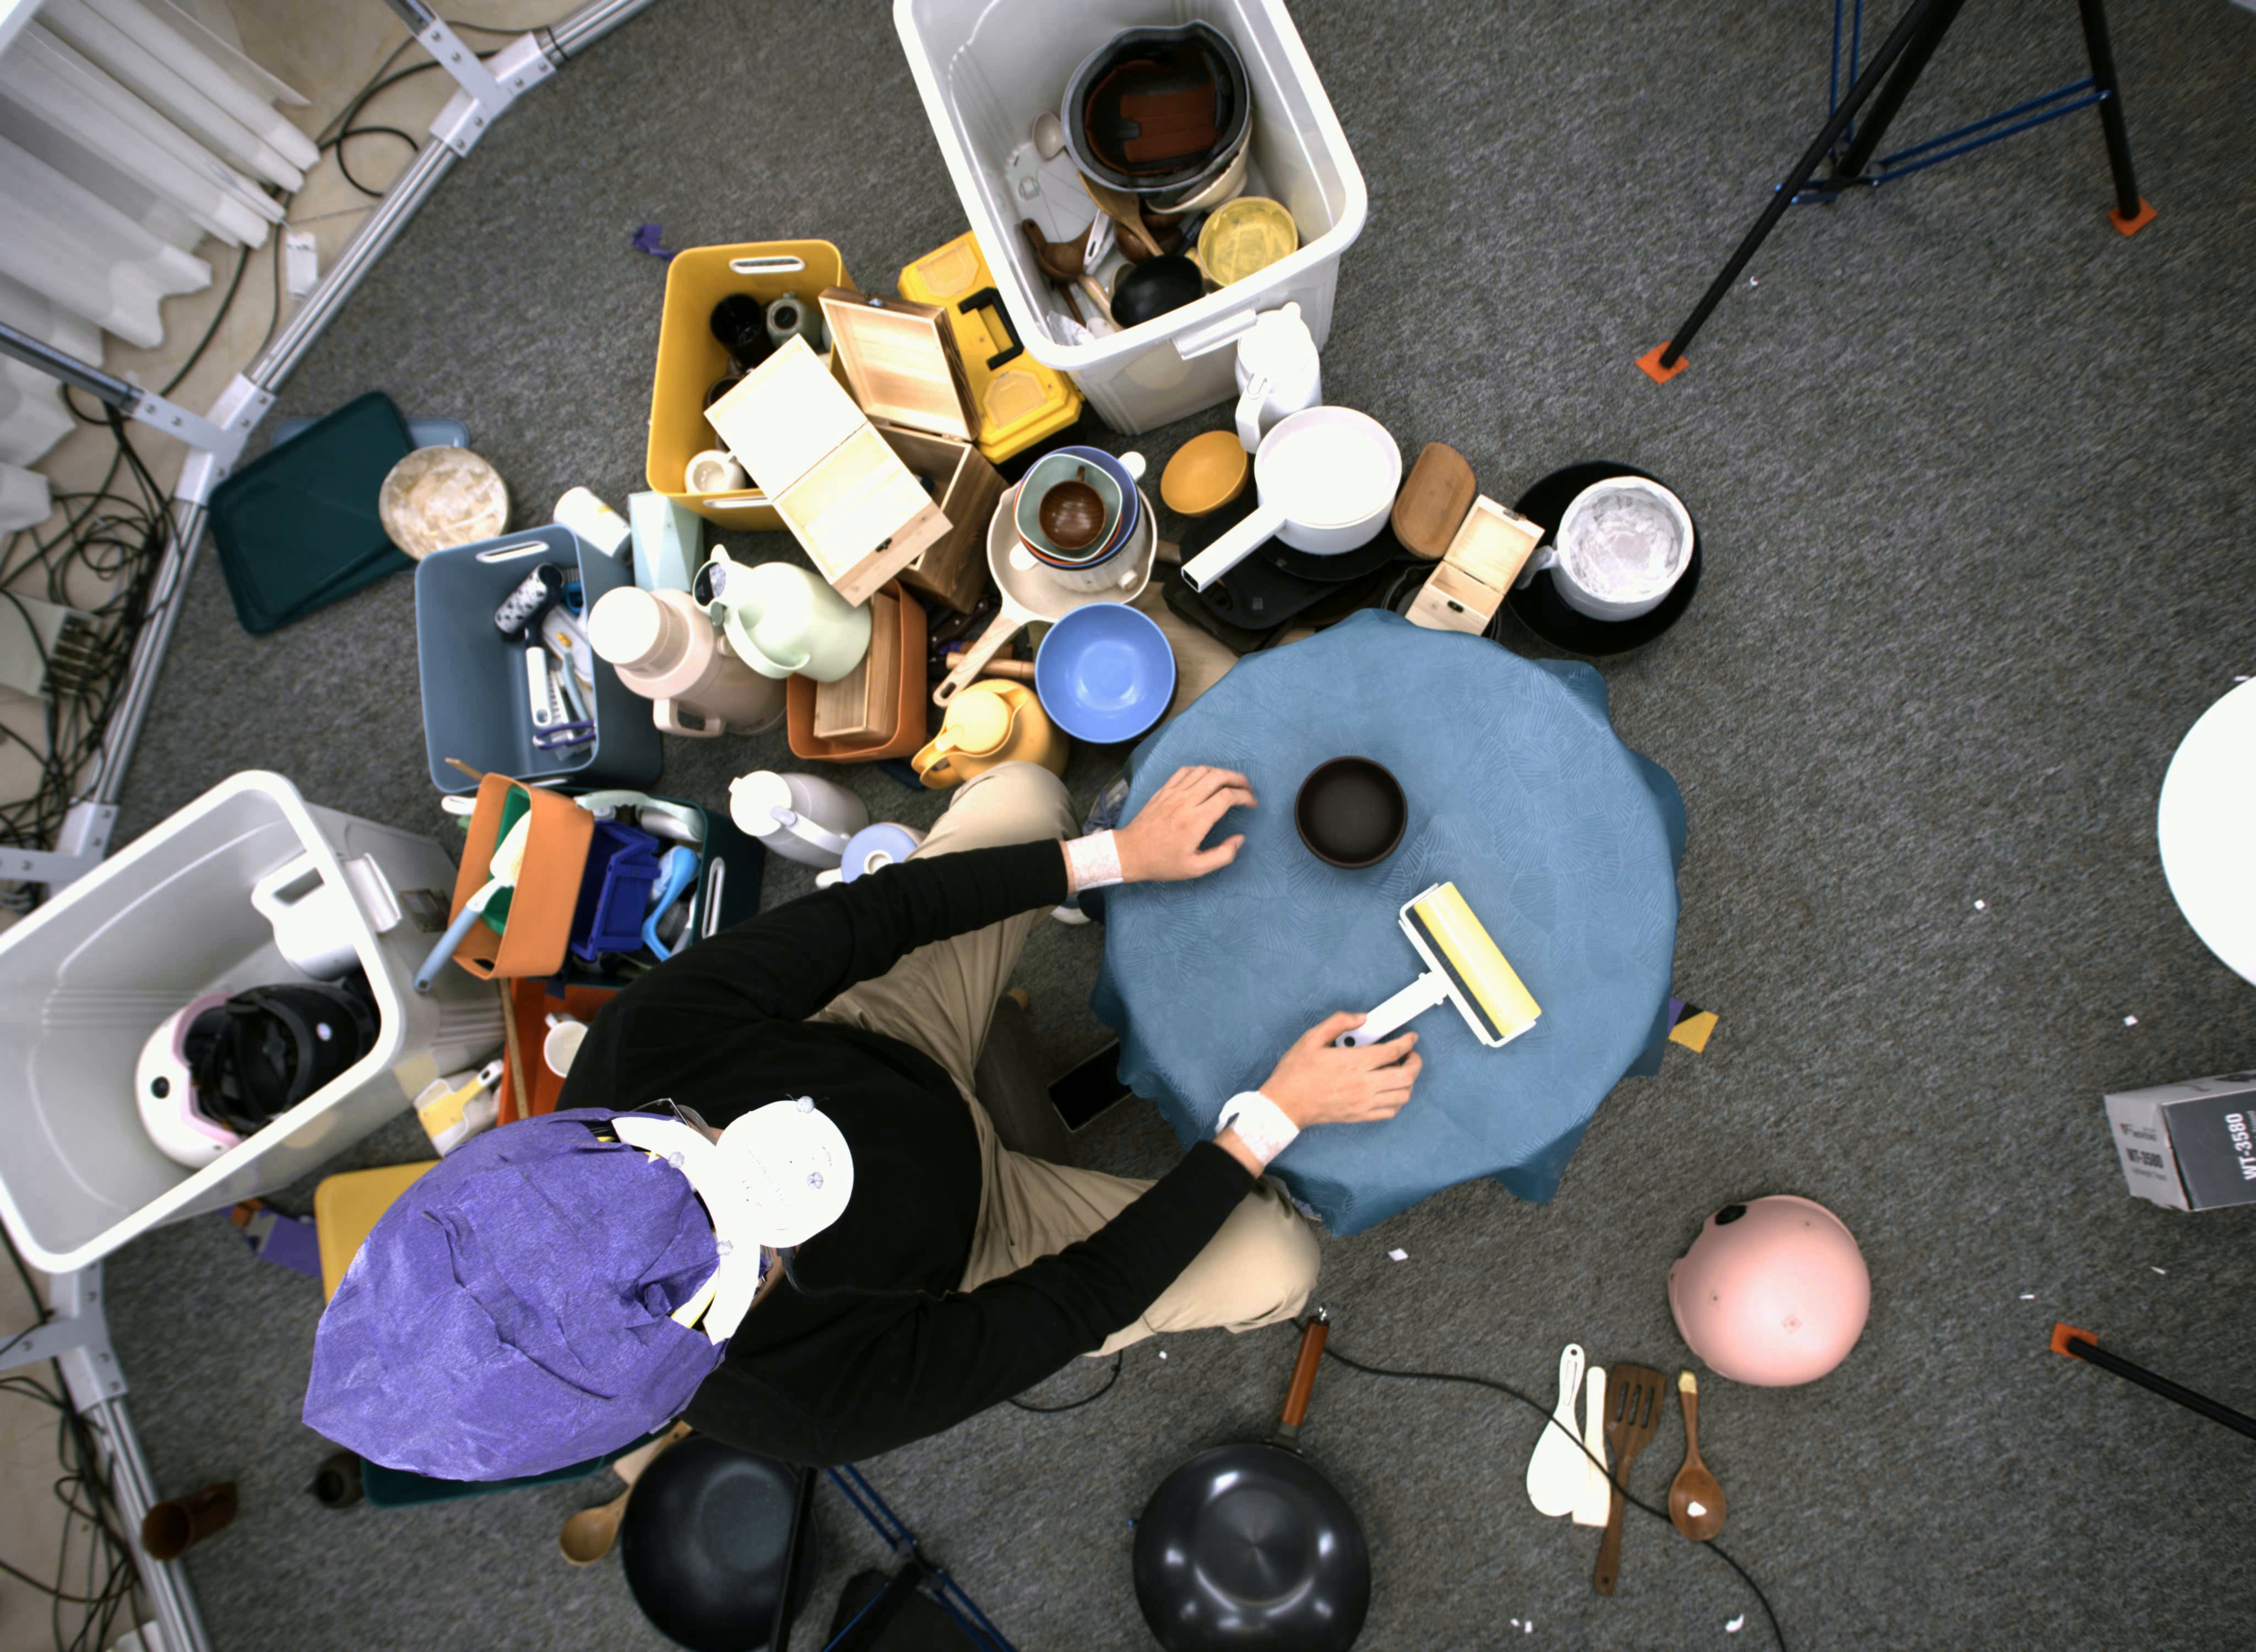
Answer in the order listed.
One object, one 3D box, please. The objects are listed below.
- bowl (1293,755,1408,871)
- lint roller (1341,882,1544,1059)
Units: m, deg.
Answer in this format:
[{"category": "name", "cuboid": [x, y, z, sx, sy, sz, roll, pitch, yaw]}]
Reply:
[{"category": "bowl", "cuboid": [0.231, -0.012, 1.434, 0.118, 0.070, 0.117, -1, 85, 10]}, {"category": "lint roller", "cuboid": [0.301, 0.177, 1.422, 0.192, 0.051, 0.173, -36, 80, 2]}]
